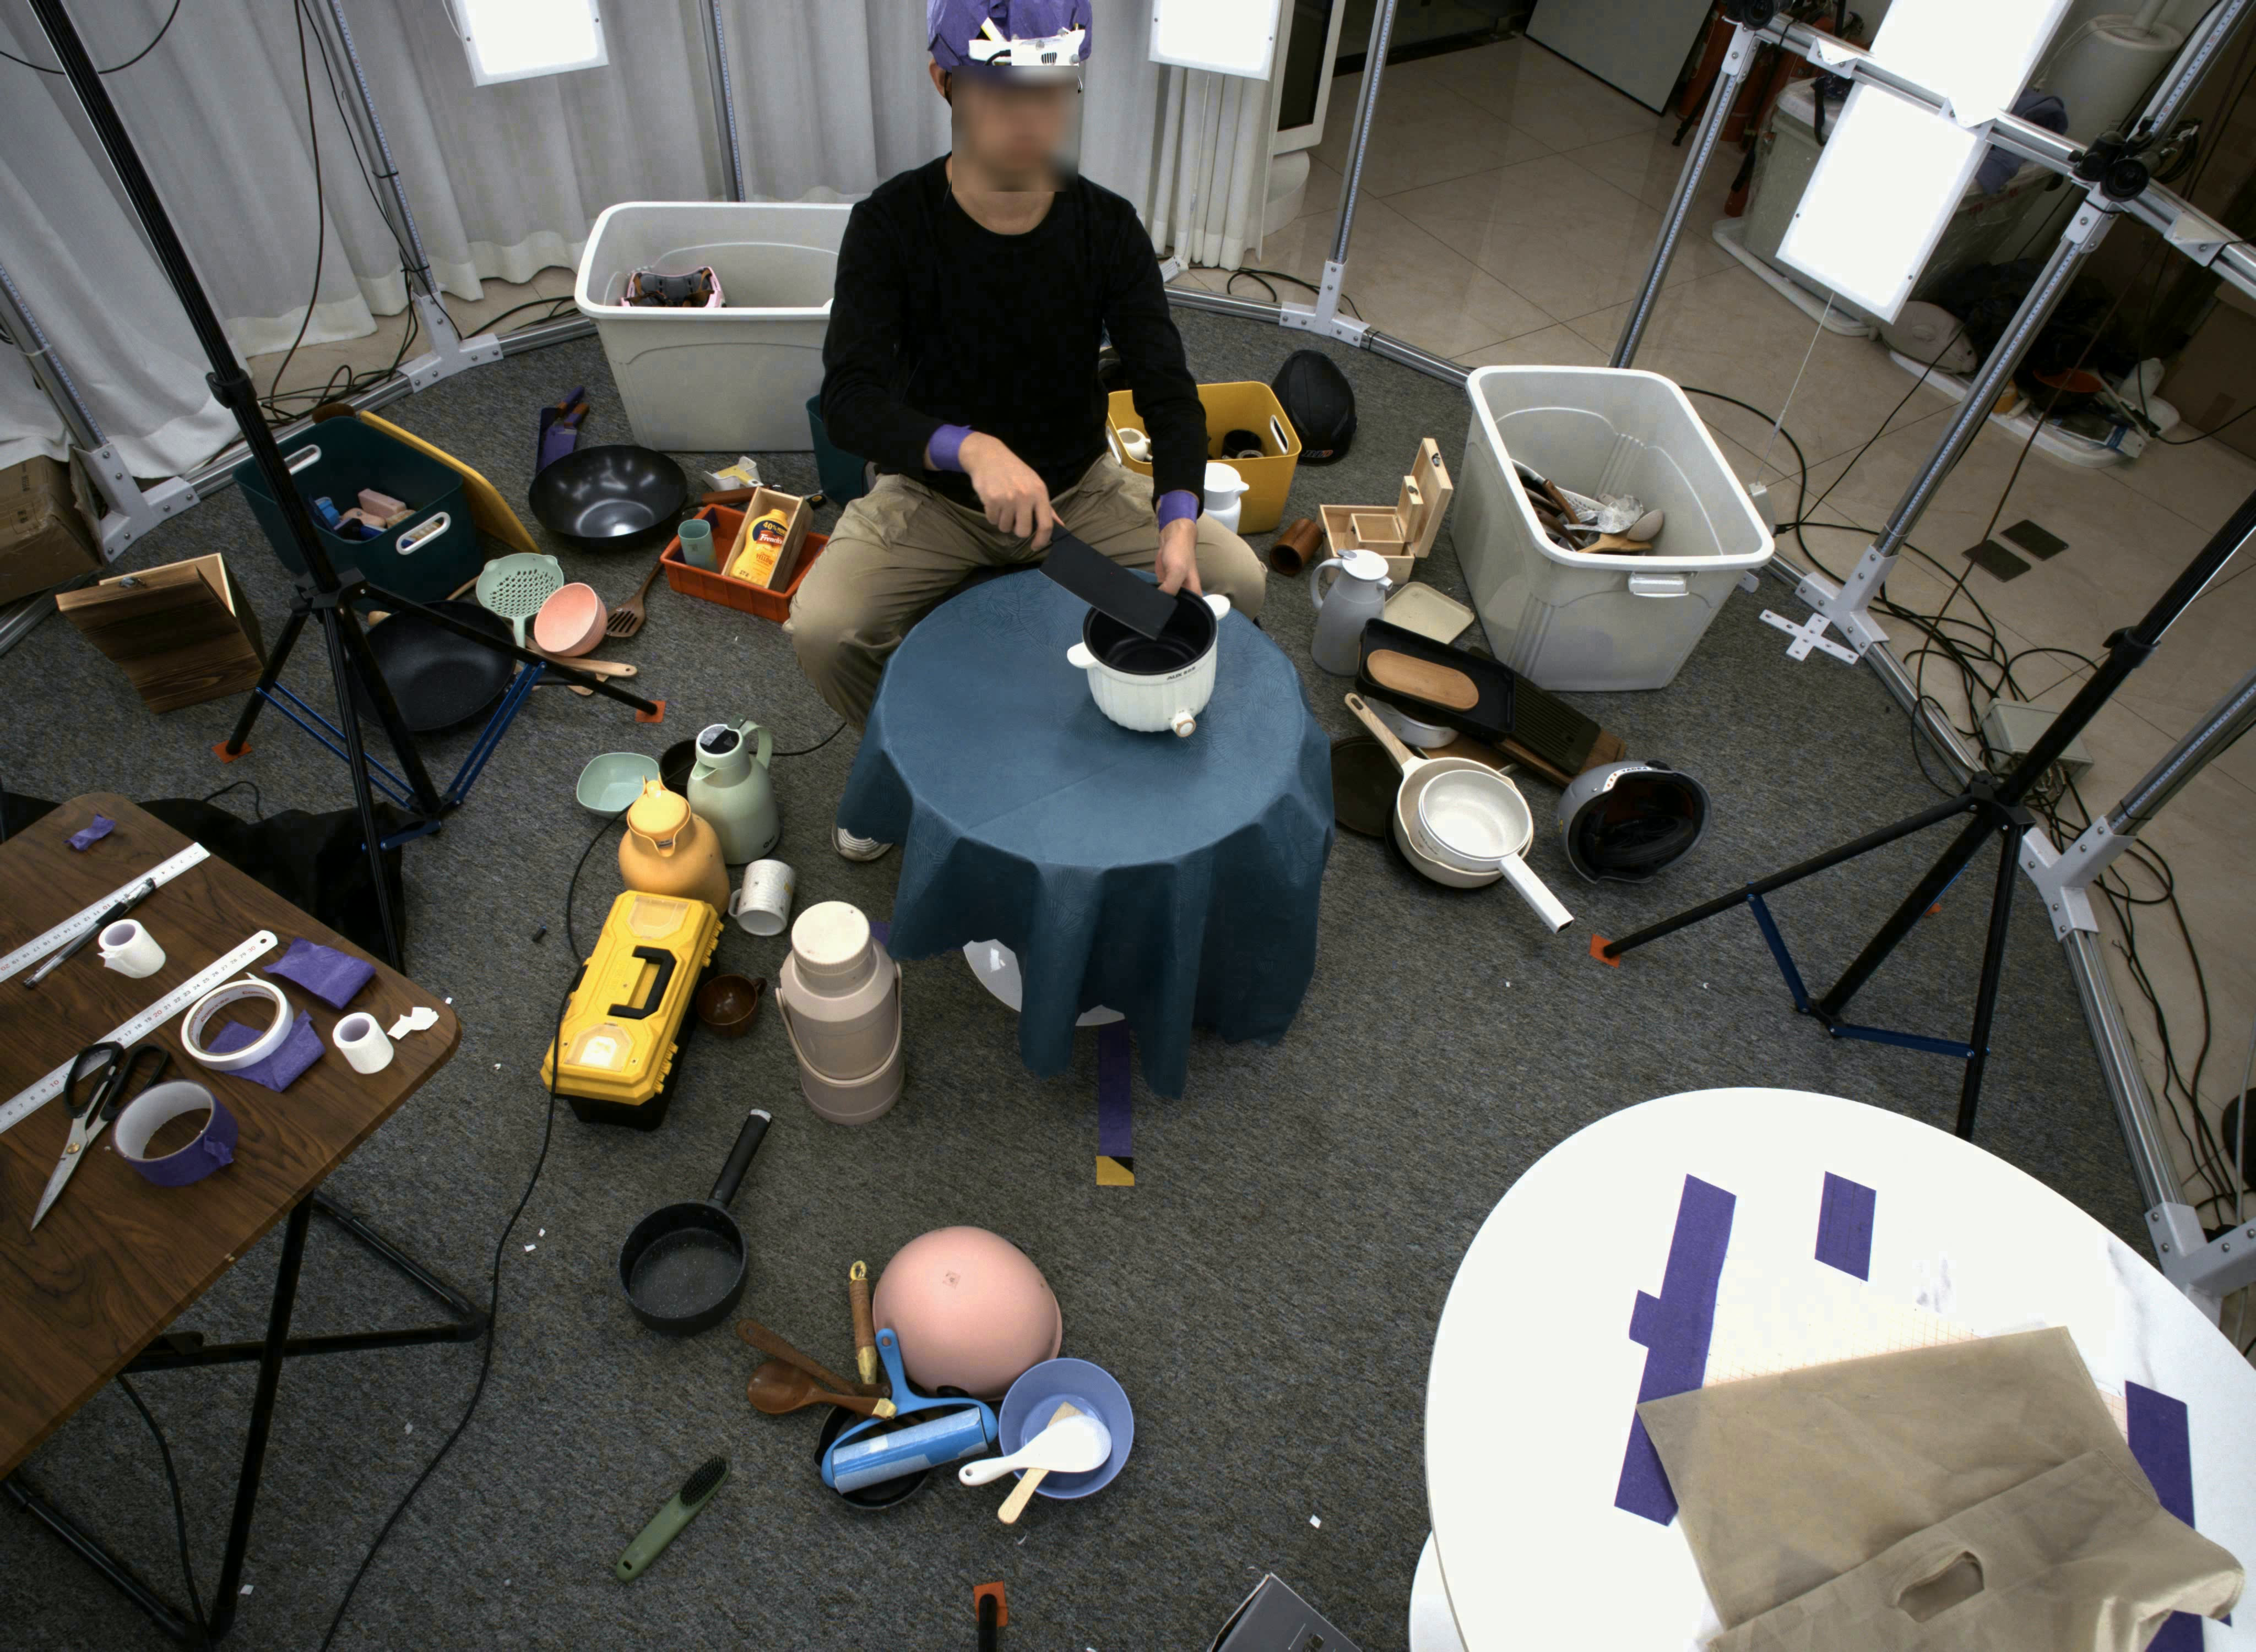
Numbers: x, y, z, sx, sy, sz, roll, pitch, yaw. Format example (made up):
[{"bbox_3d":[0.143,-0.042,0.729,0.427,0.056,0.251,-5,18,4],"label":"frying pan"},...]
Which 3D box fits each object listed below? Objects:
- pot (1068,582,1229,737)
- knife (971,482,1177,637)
[{"bbox_3d":[0.036,-0.222,1.768,0.241,0.139,0.195,-23,49,-14],"label":"pot"},{"bbox_3d":[-0.075,-0.353,1.691,0.302,0.021,0.081,36,83,-2],"label":"knife"}]
